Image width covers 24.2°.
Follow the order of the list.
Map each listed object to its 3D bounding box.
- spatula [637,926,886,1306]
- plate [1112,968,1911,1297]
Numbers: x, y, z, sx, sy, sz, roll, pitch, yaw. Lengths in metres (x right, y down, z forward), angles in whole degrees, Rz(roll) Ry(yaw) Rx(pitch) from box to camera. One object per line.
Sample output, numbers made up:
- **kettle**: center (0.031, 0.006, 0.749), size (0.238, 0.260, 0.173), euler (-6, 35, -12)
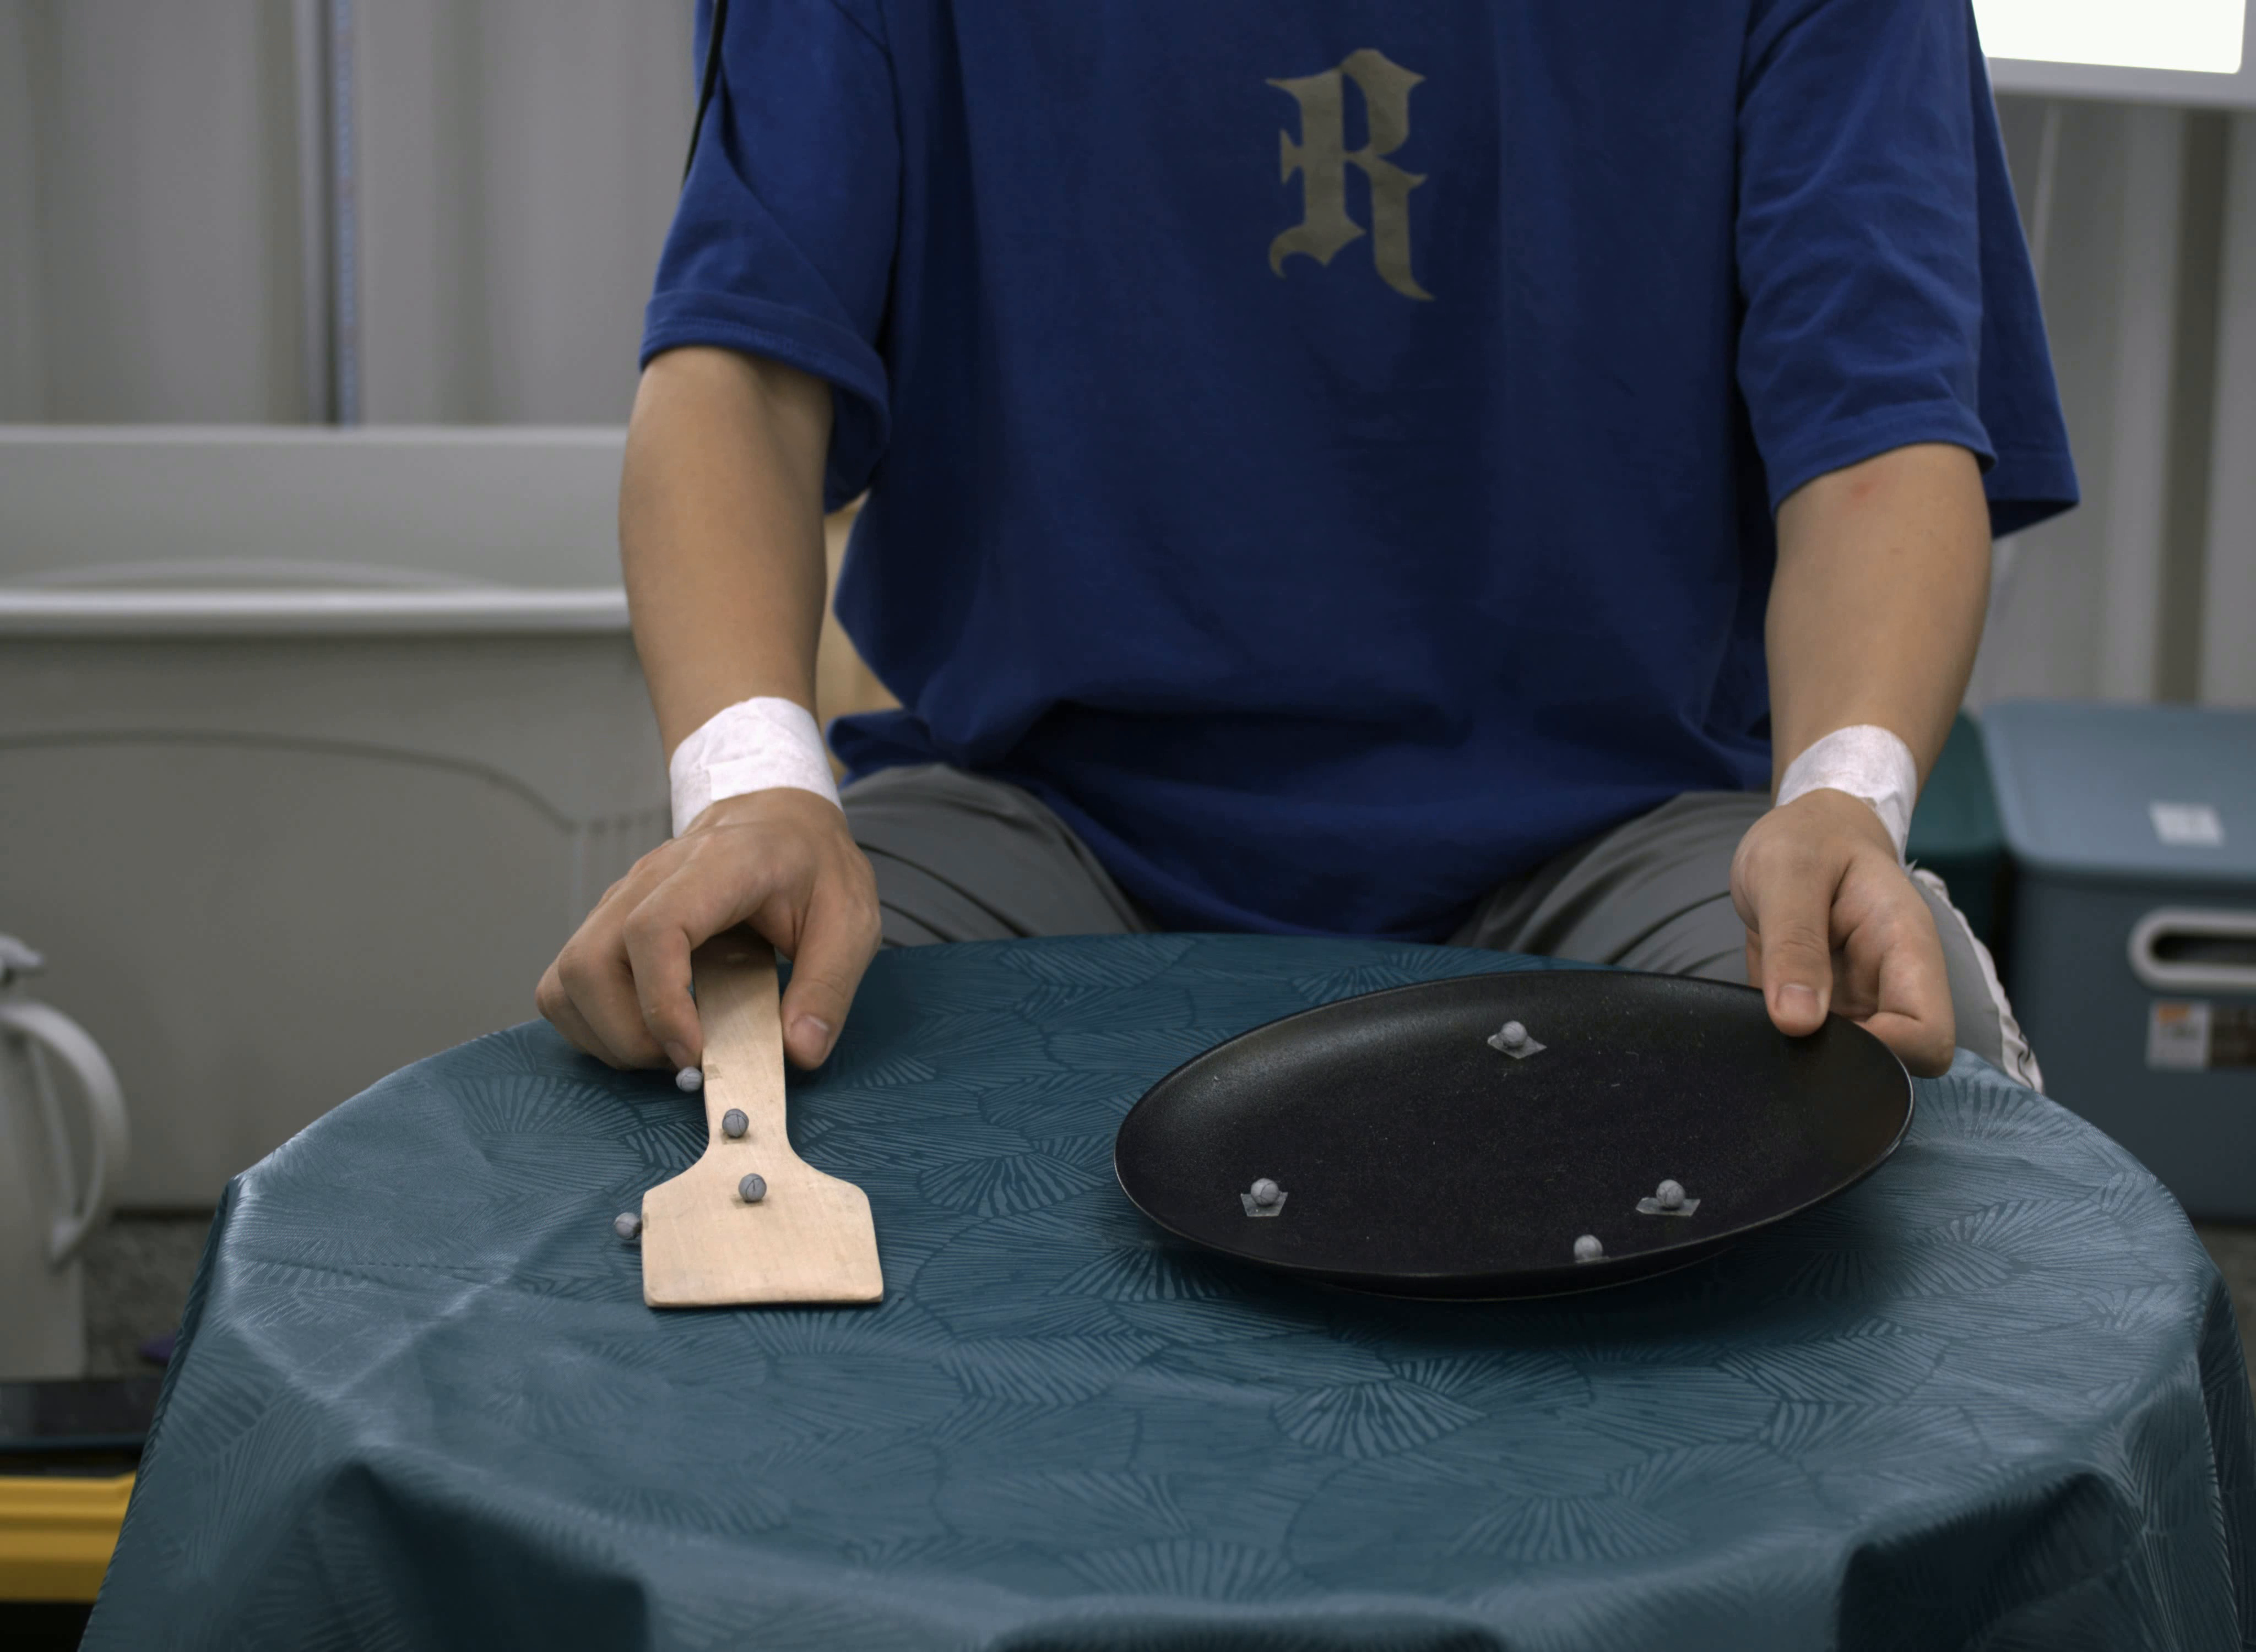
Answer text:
- **spatula**: center (-0.120, 0.088, 1.654), size (0.072, 0.011, 0.290), euler (-2, 21, -6)
- **plate**: center (0.116, 0.096, 1.600), size (0.243, 0.023, 0.243), euler (-6, 19, 3)
